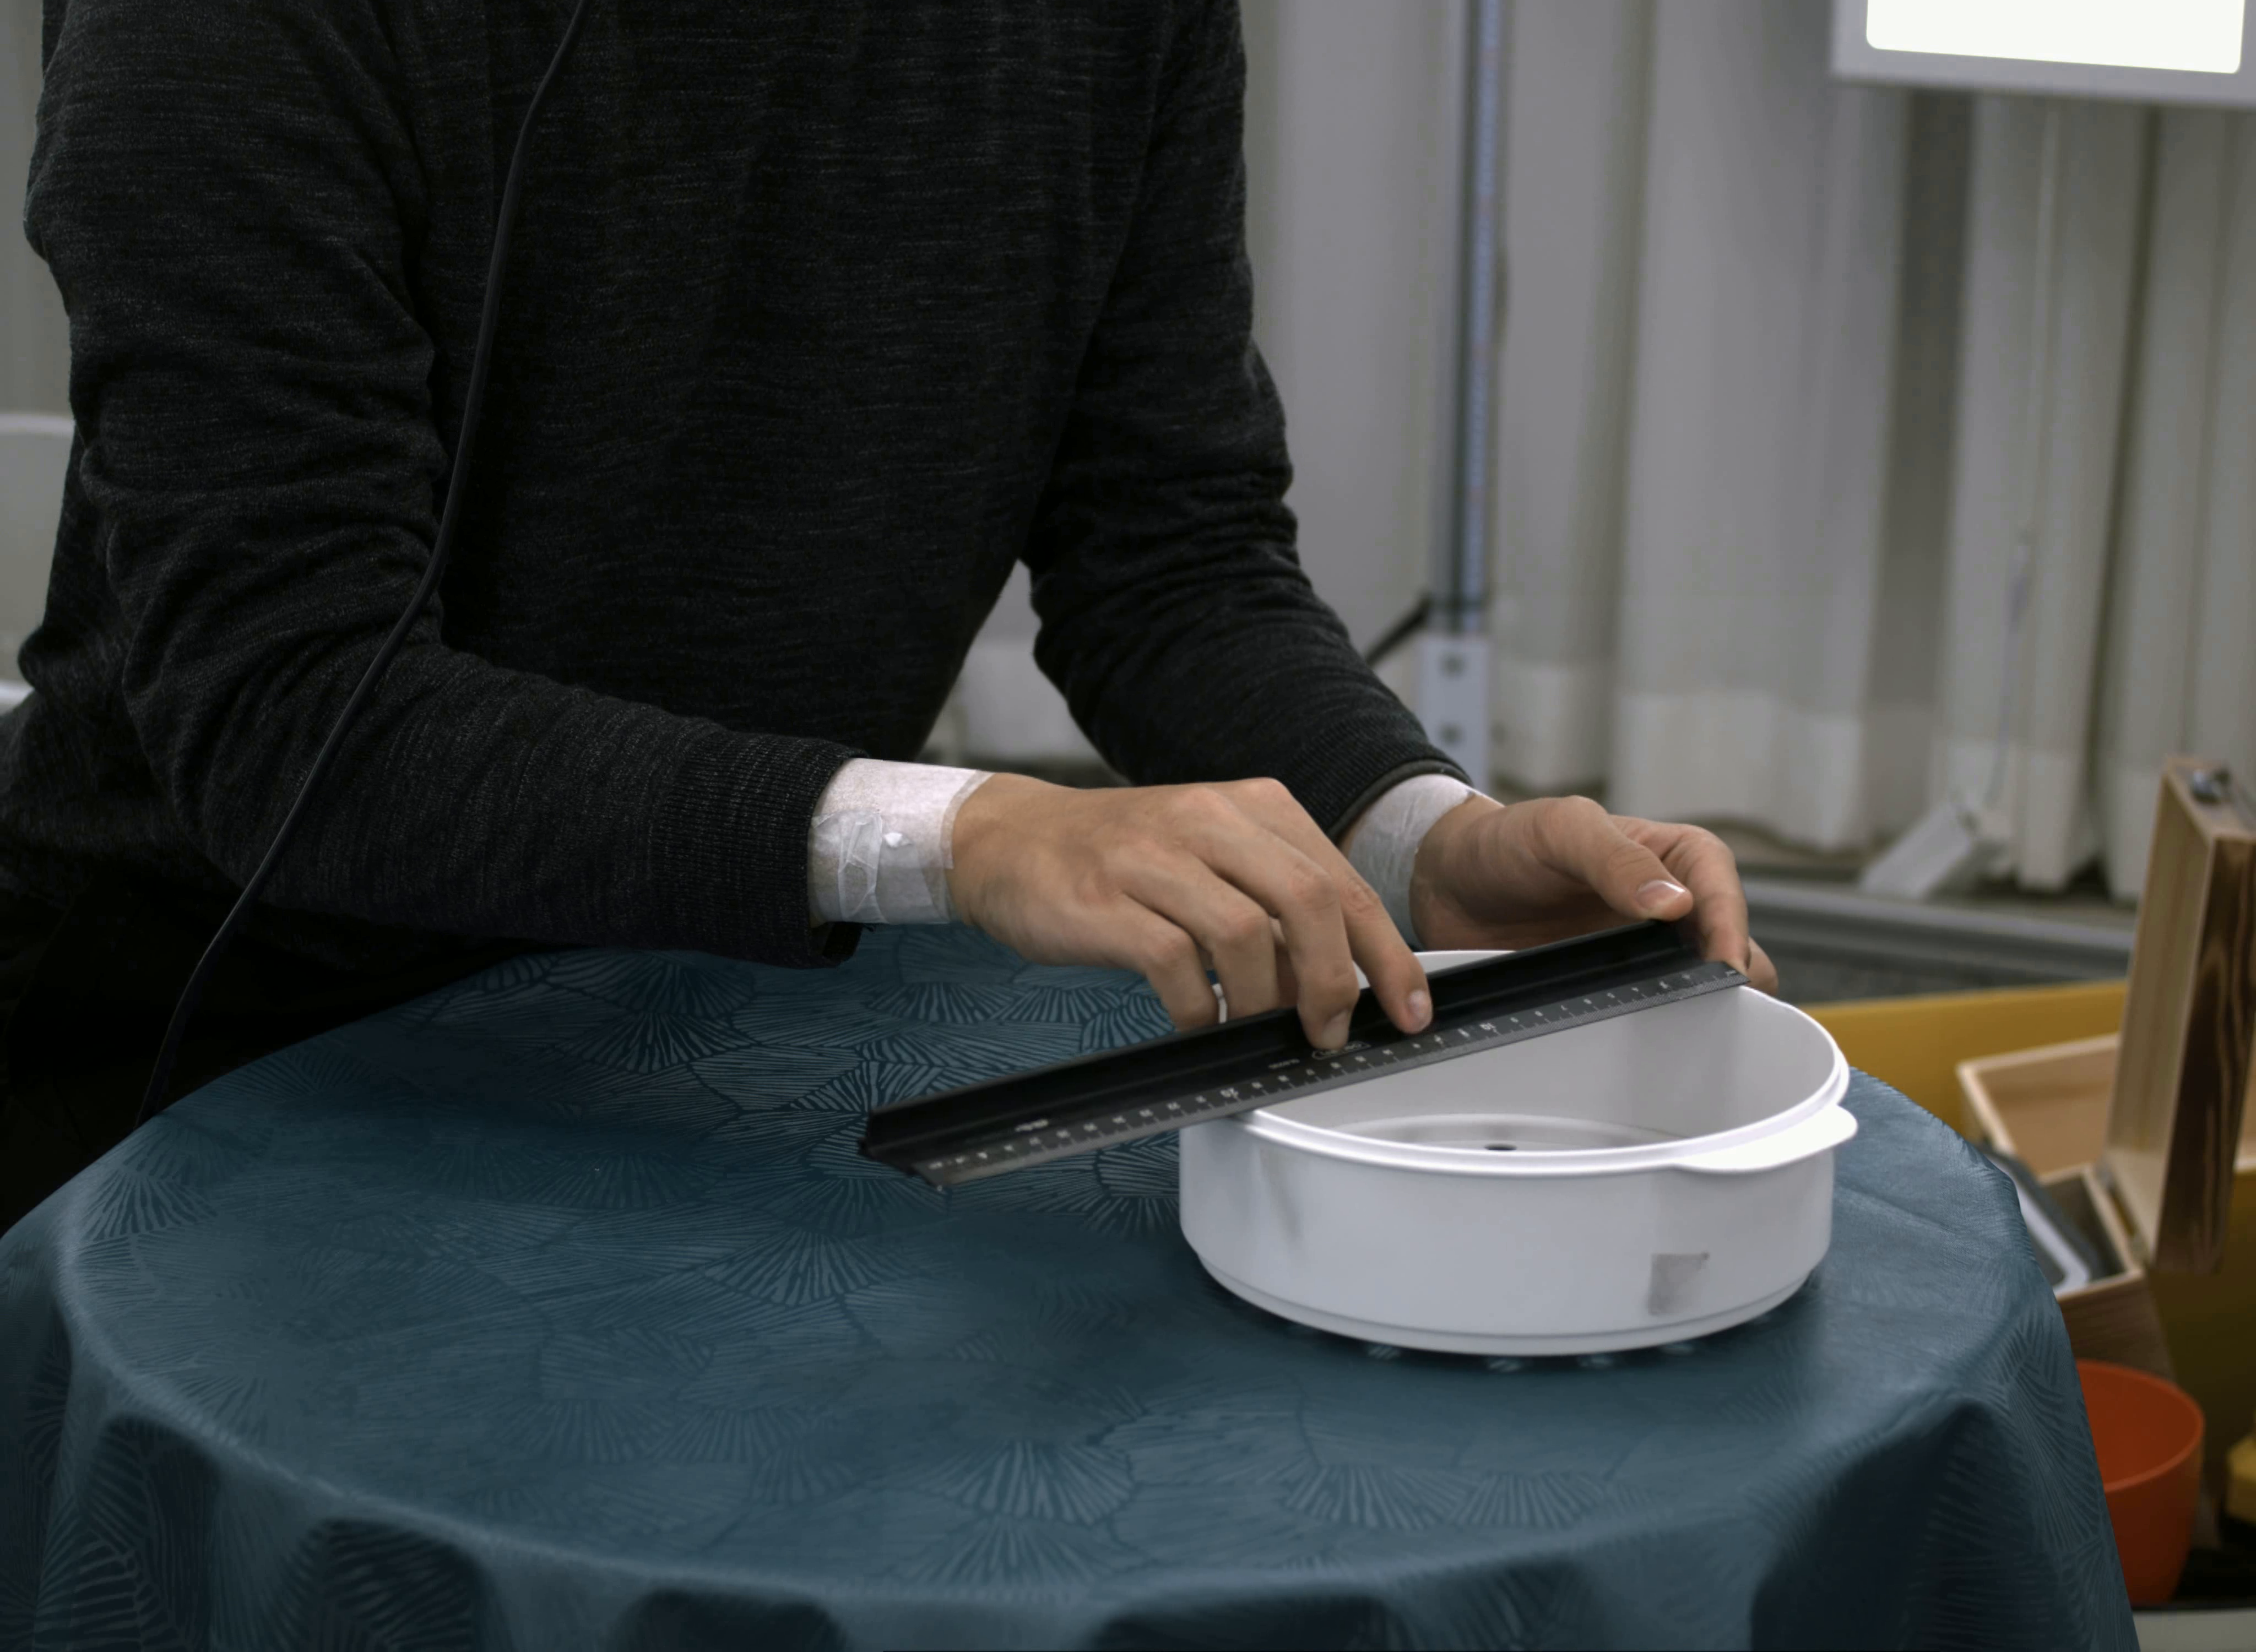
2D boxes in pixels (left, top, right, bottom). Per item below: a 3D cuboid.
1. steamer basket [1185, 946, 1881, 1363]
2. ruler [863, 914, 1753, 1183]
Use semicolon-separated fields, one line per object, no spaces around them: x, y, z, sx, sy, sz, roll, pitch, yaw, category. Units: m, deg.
0.116;0.096;1.553;0.227;0.070;0.203;18;23;41;steamer basket
0.059;0.062;1.525;0.314;0.017;0.039;-11;23;-37;ruler
